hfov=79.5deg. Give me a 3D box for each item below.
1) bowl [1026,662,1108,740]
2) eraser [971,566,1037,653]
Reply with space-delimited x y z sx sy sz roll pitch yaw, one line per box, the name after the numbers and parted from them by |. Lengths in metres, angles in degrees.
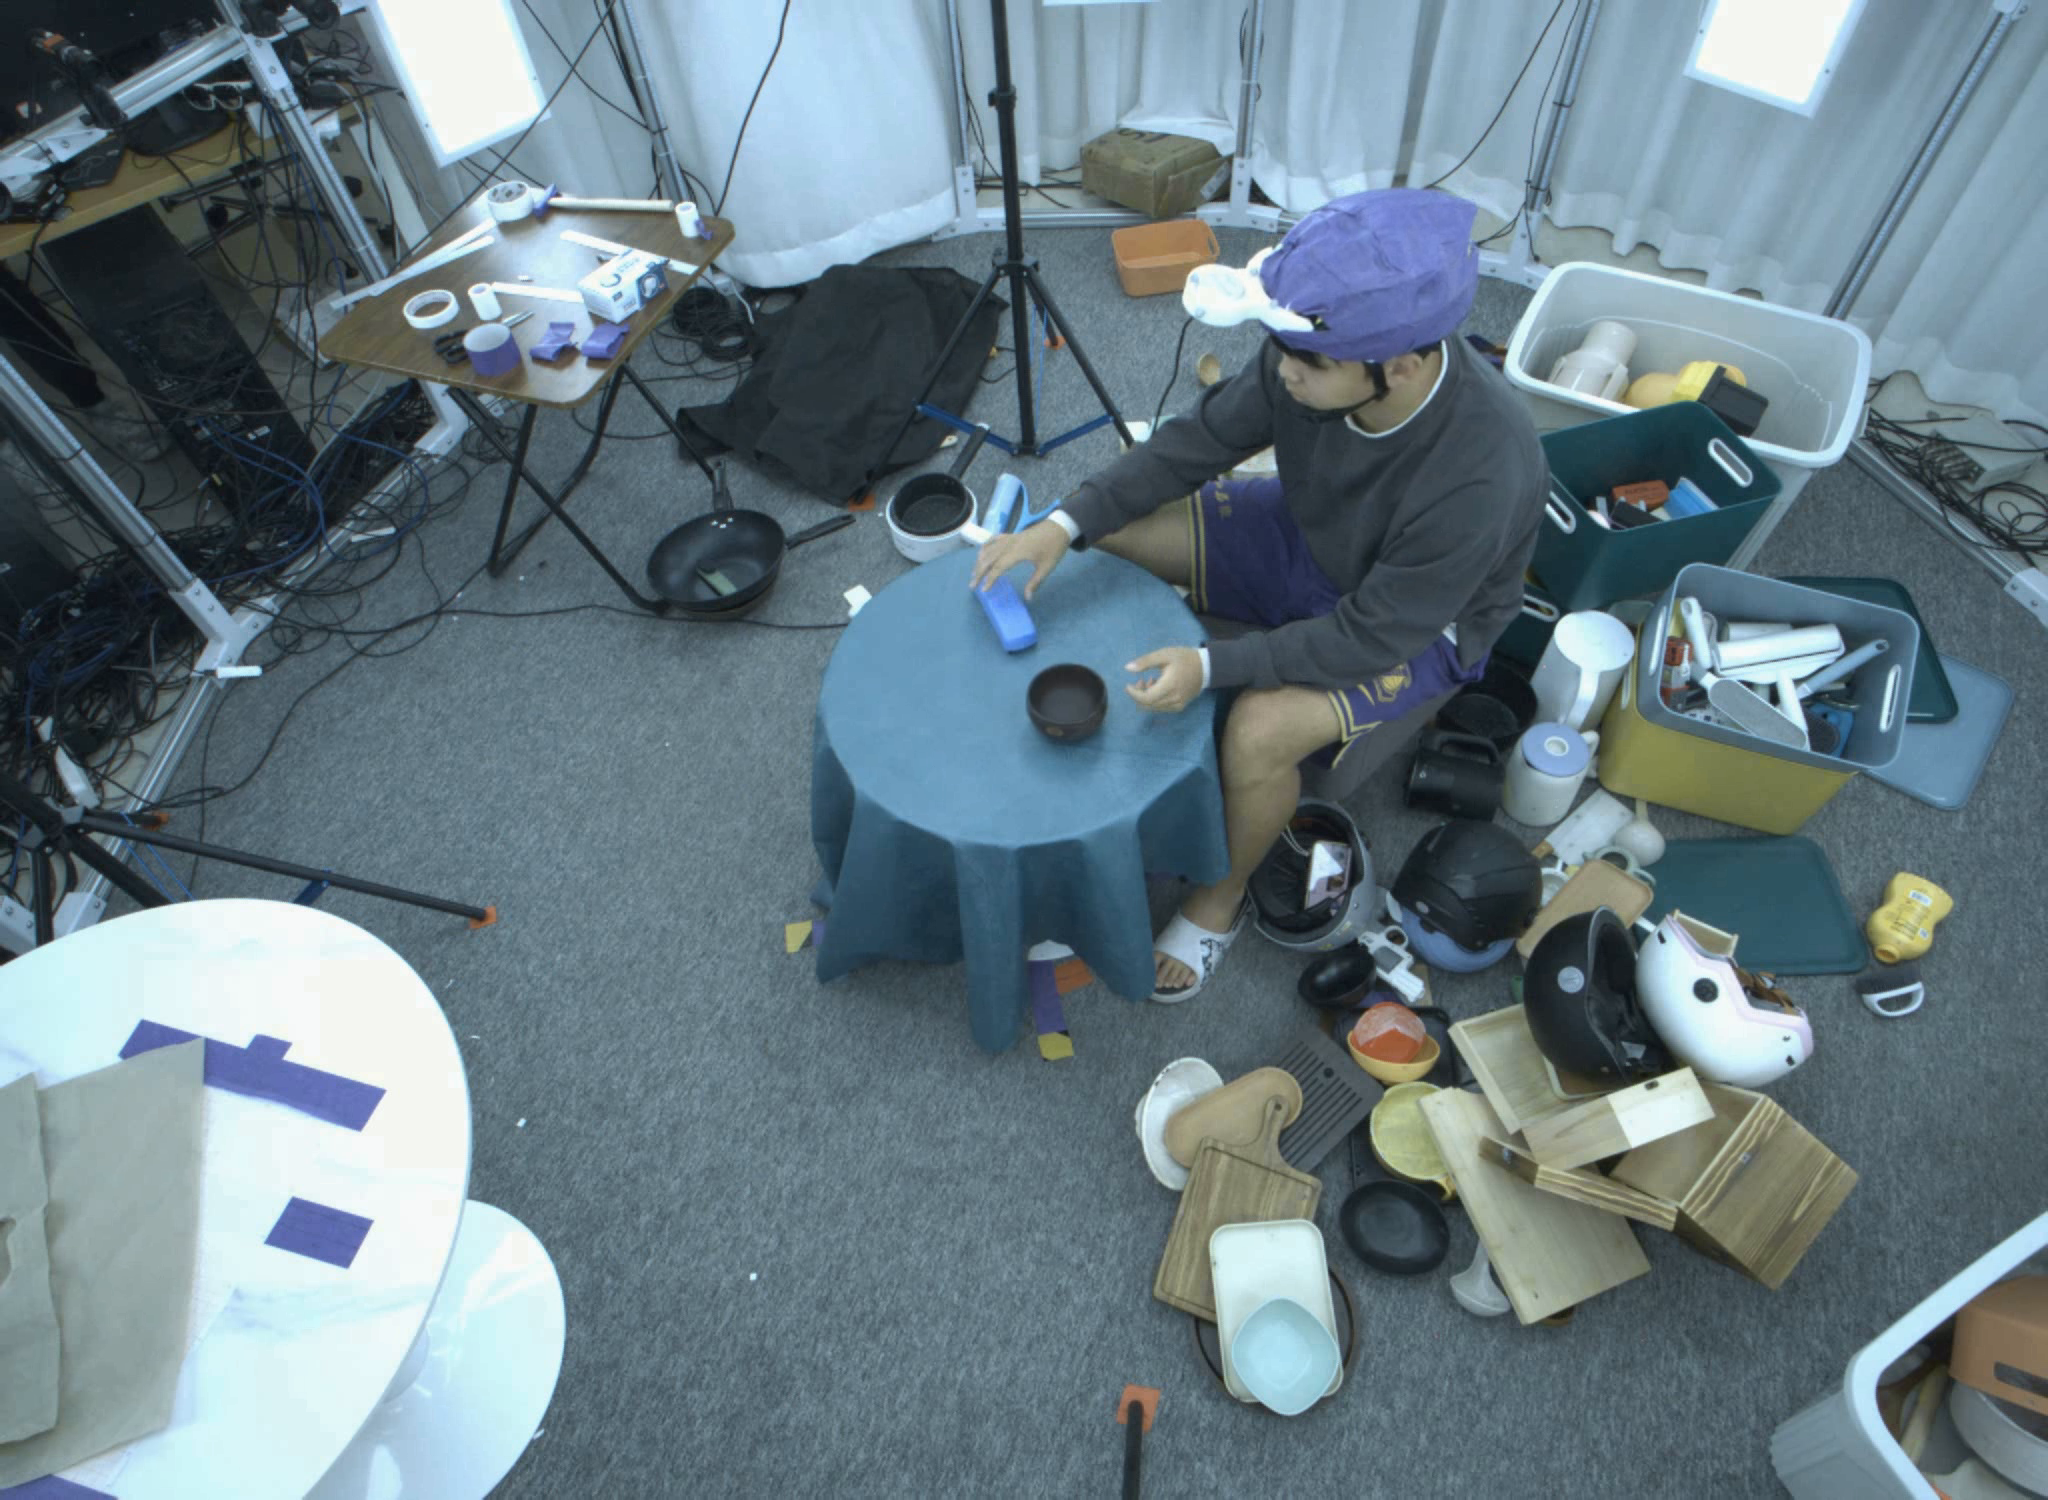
0.062 -0.063 1.787 0.118 0.070 0.117 0 53 2 | bowl
-0.033 -0.226 1.923 0.054 0.048 0.159 -21 57 -11 | eraser
